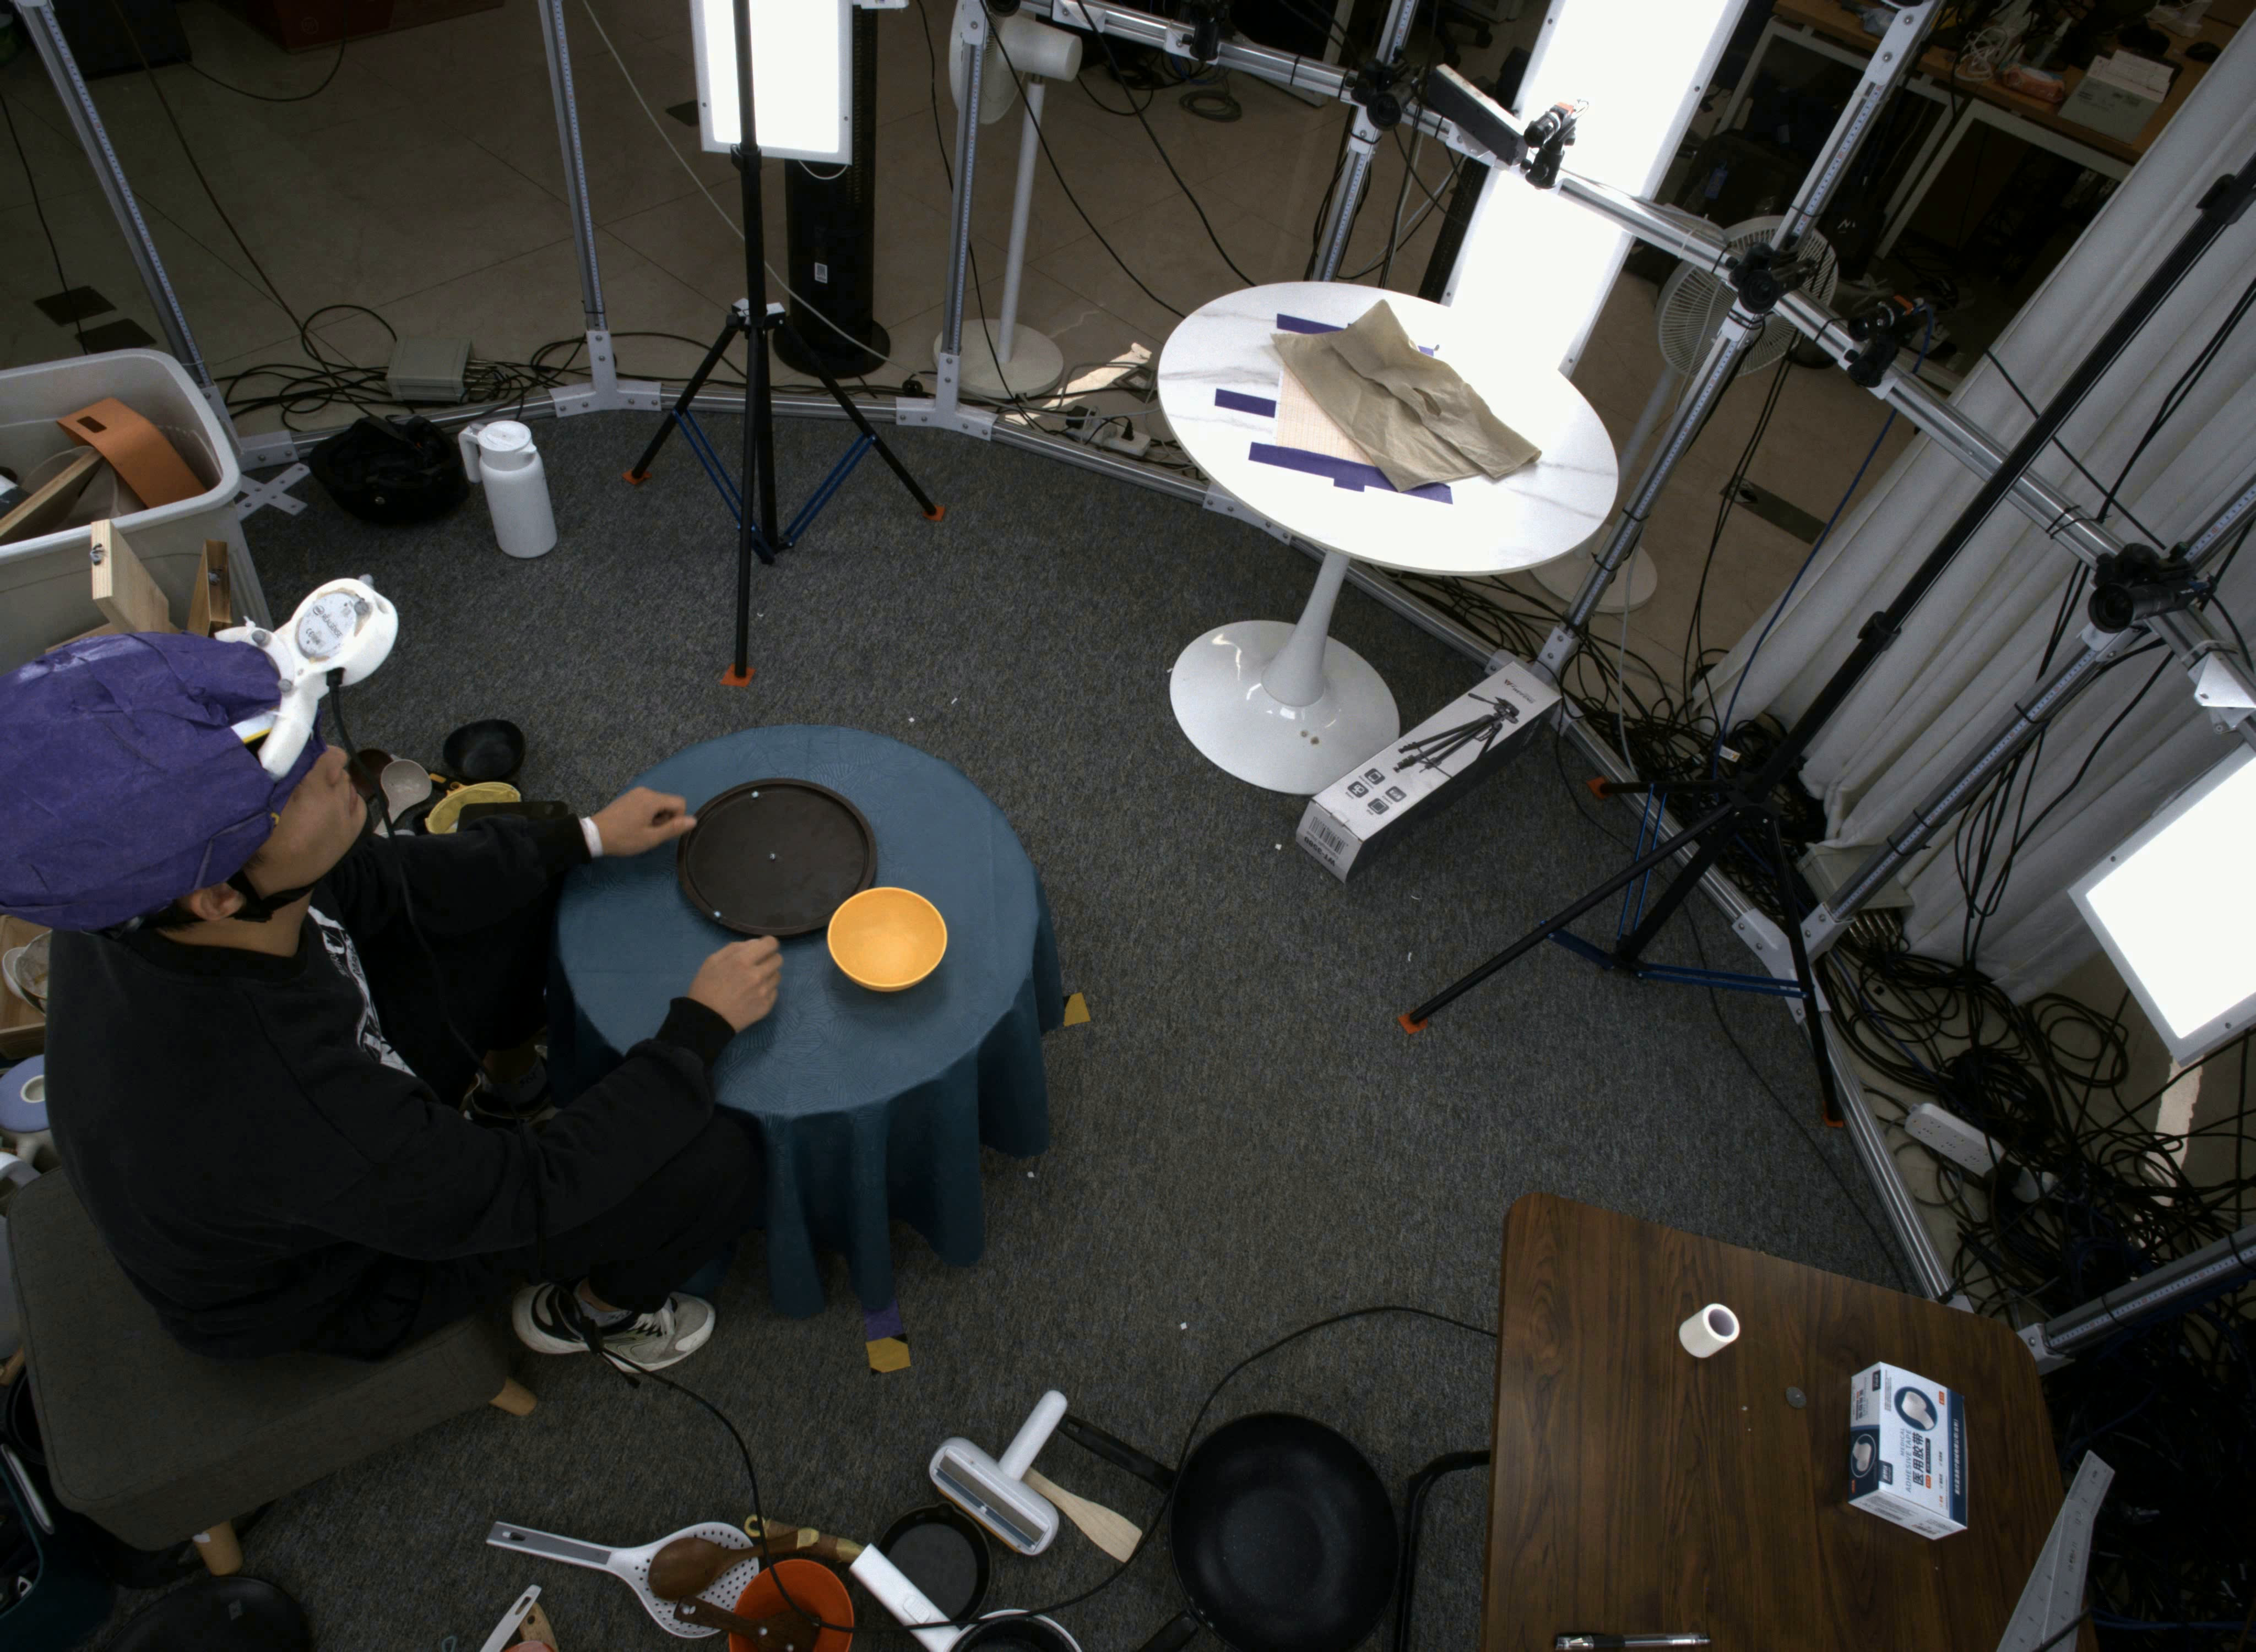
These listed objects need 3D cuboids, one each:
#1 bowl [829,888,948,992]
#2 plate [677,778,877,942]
[{"bbox_3d":[-0.296,0.151,1.614,0.144,0.061,0.143,6,53,-6],"label":"bowl"},{"bbox_3d":[-0.452,0.041,1.677,0.254,0.029,0.250,8,54,-10],"label":"plate"}]
